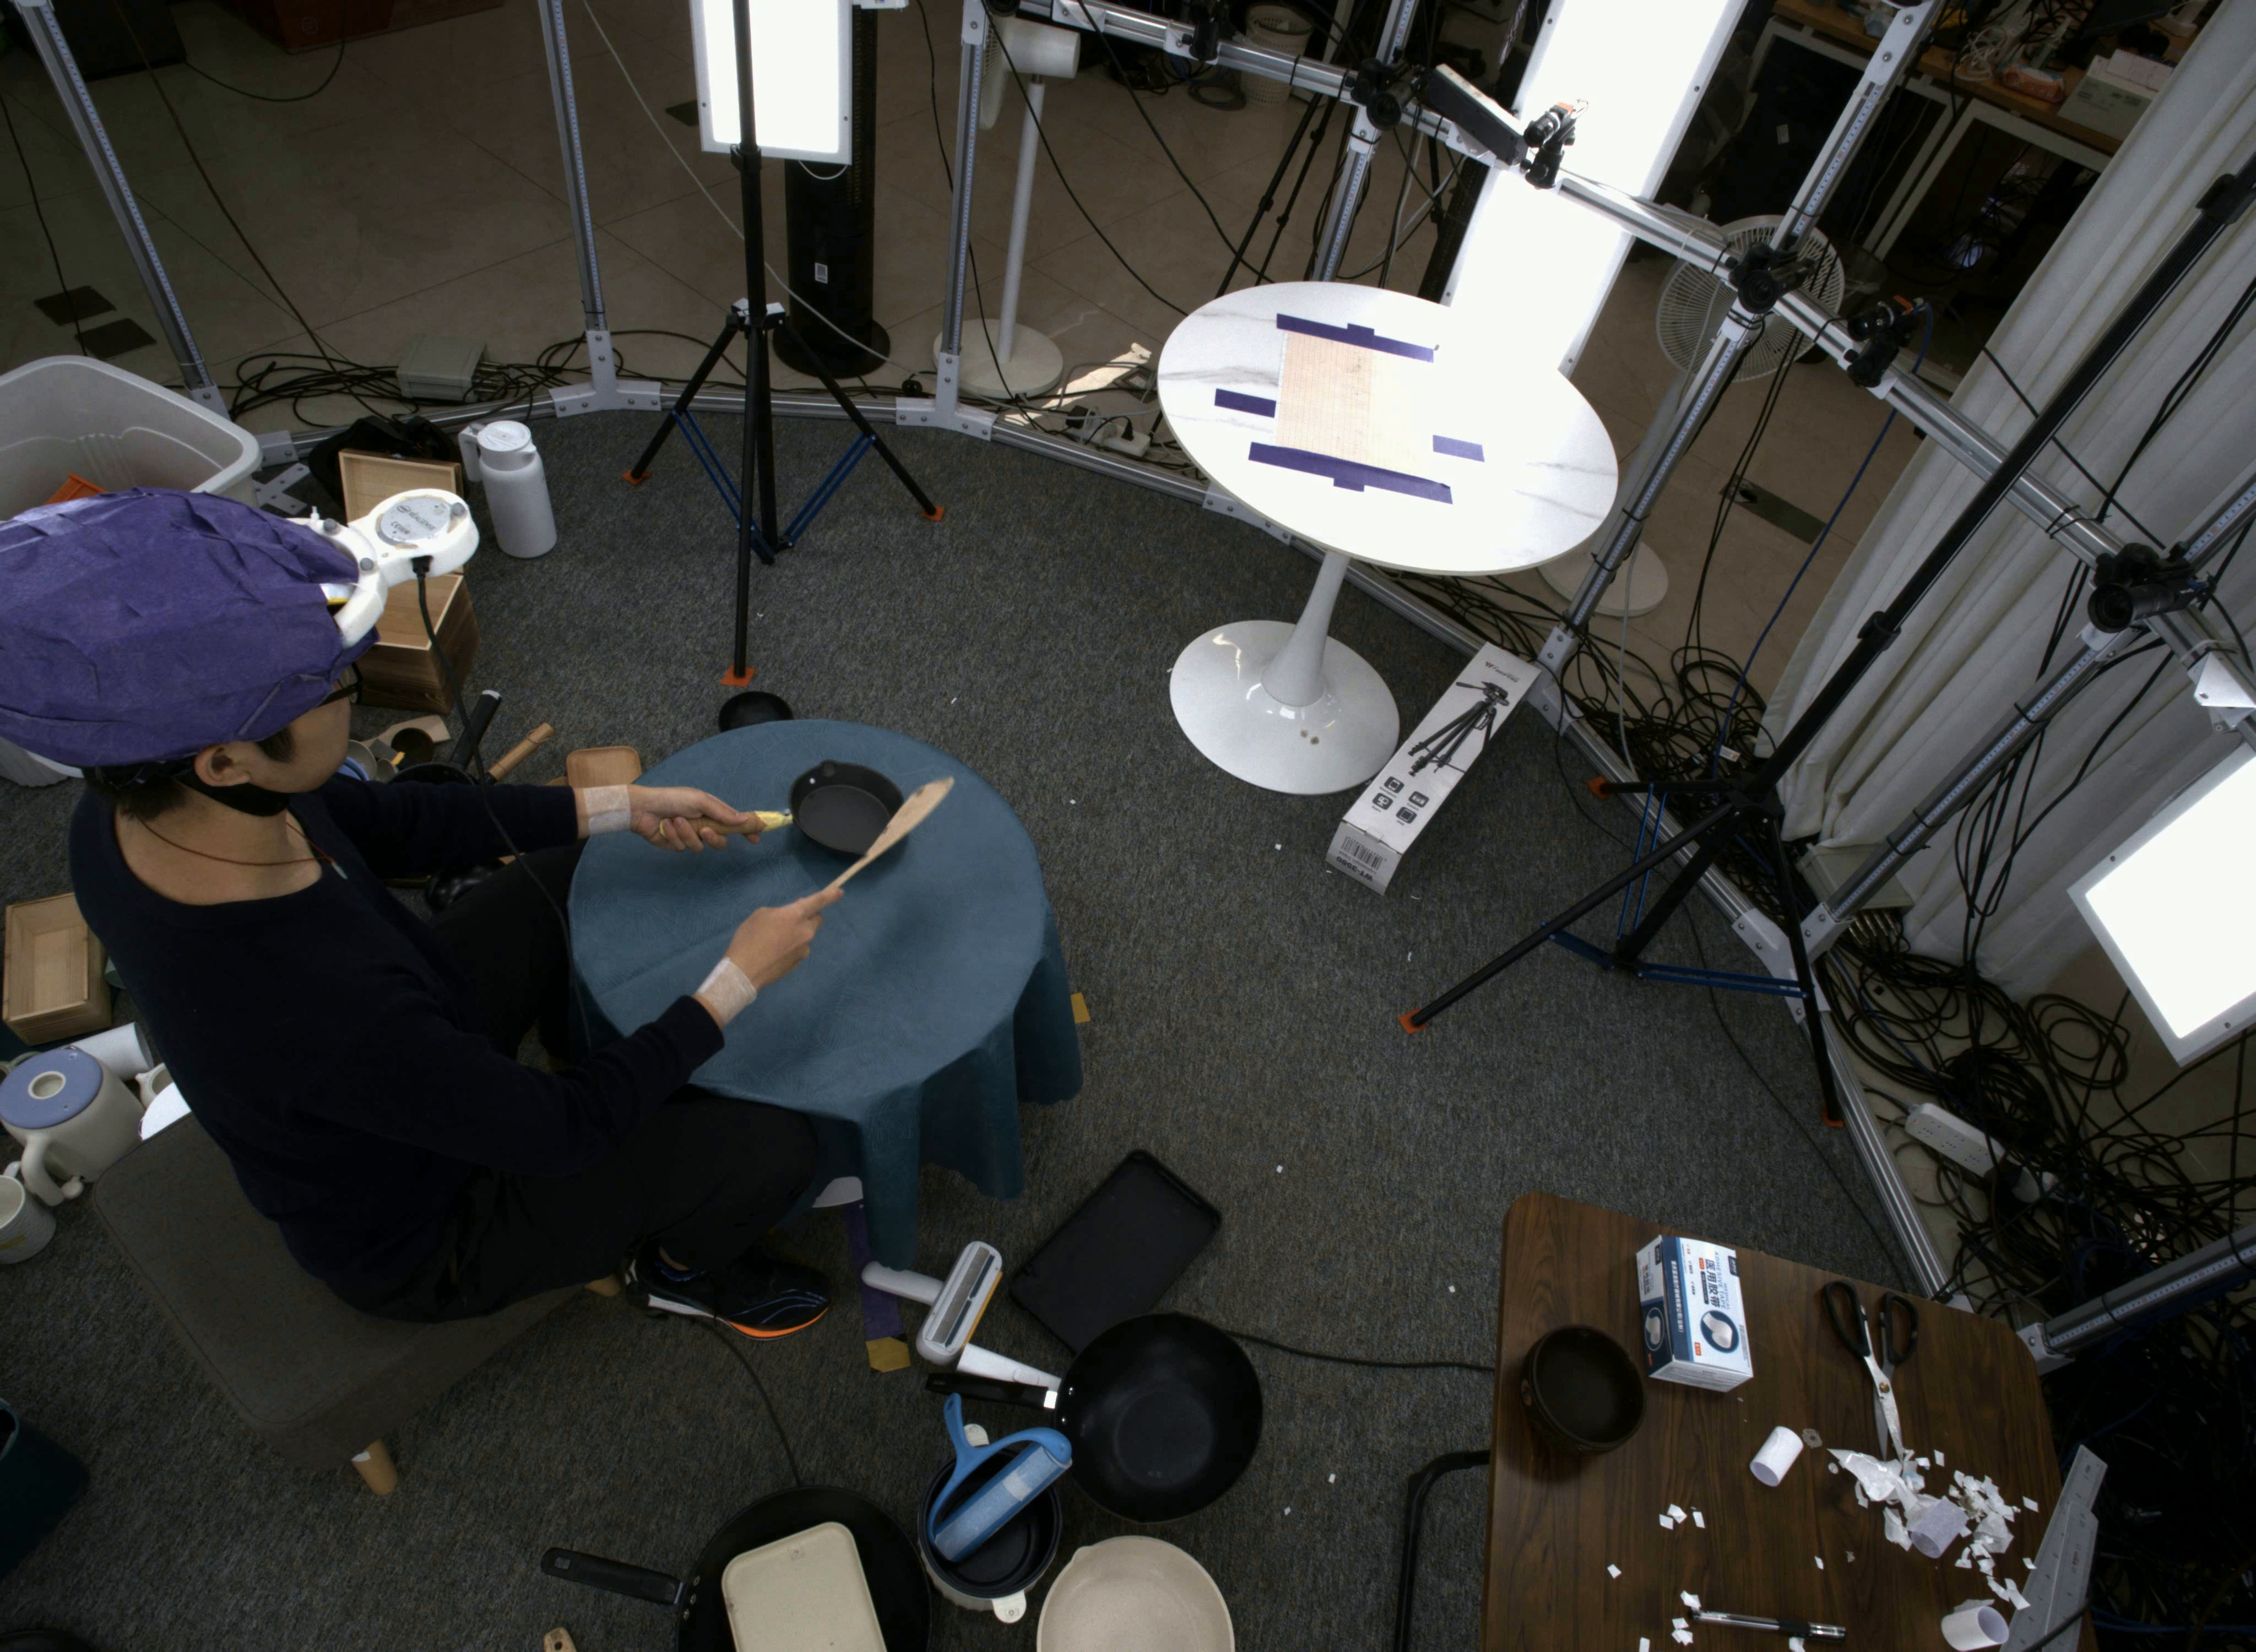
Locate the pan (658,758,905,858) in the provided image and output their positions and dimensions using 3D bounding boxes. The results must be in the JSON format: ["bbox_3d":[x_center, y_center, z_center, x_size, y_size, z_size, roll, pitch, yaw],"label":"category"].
[{"bbox_3d":[-0.441,-0.012,1.655,0.328,0.050,0.164,-8,55,-34],"label":"pan"}]

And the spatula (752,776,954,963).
[{"bbox_3d":[-0.325,0.046,1.527,0.327,0.077,0.017,-47,118,-33],"label":"spatula"}]
